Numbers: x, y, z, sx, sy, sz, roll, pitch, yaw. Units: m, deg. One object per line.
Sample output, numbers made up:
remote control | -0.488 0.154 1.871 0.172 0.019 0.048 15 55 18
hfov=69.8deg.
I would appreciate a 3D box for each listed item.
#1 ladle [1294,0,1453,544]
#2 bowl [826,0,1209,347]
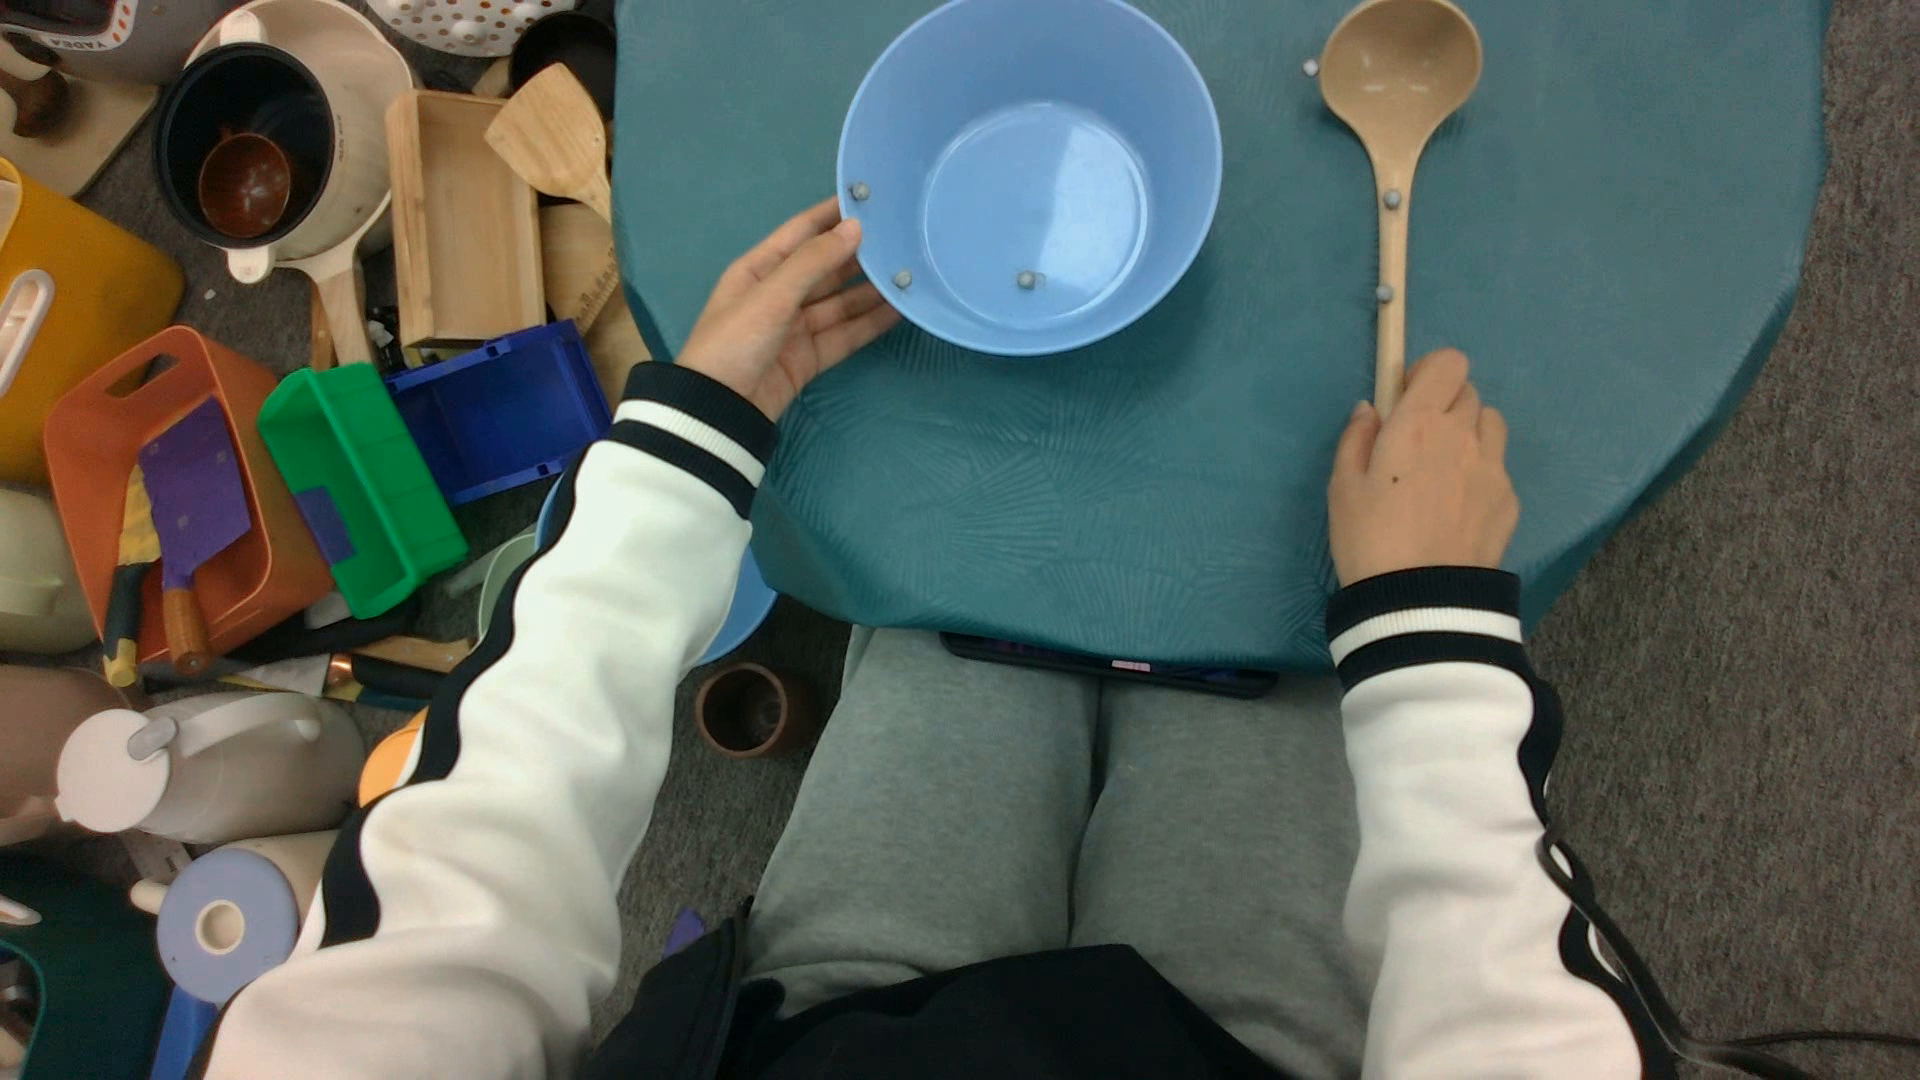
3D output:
ladle | 0.192 -0.129 0.631 0.072 0.073 0.255 -2 80 19
bowl | 0.029 -0.169 0.659 0.176 0.070 0.176 -1 81 7
